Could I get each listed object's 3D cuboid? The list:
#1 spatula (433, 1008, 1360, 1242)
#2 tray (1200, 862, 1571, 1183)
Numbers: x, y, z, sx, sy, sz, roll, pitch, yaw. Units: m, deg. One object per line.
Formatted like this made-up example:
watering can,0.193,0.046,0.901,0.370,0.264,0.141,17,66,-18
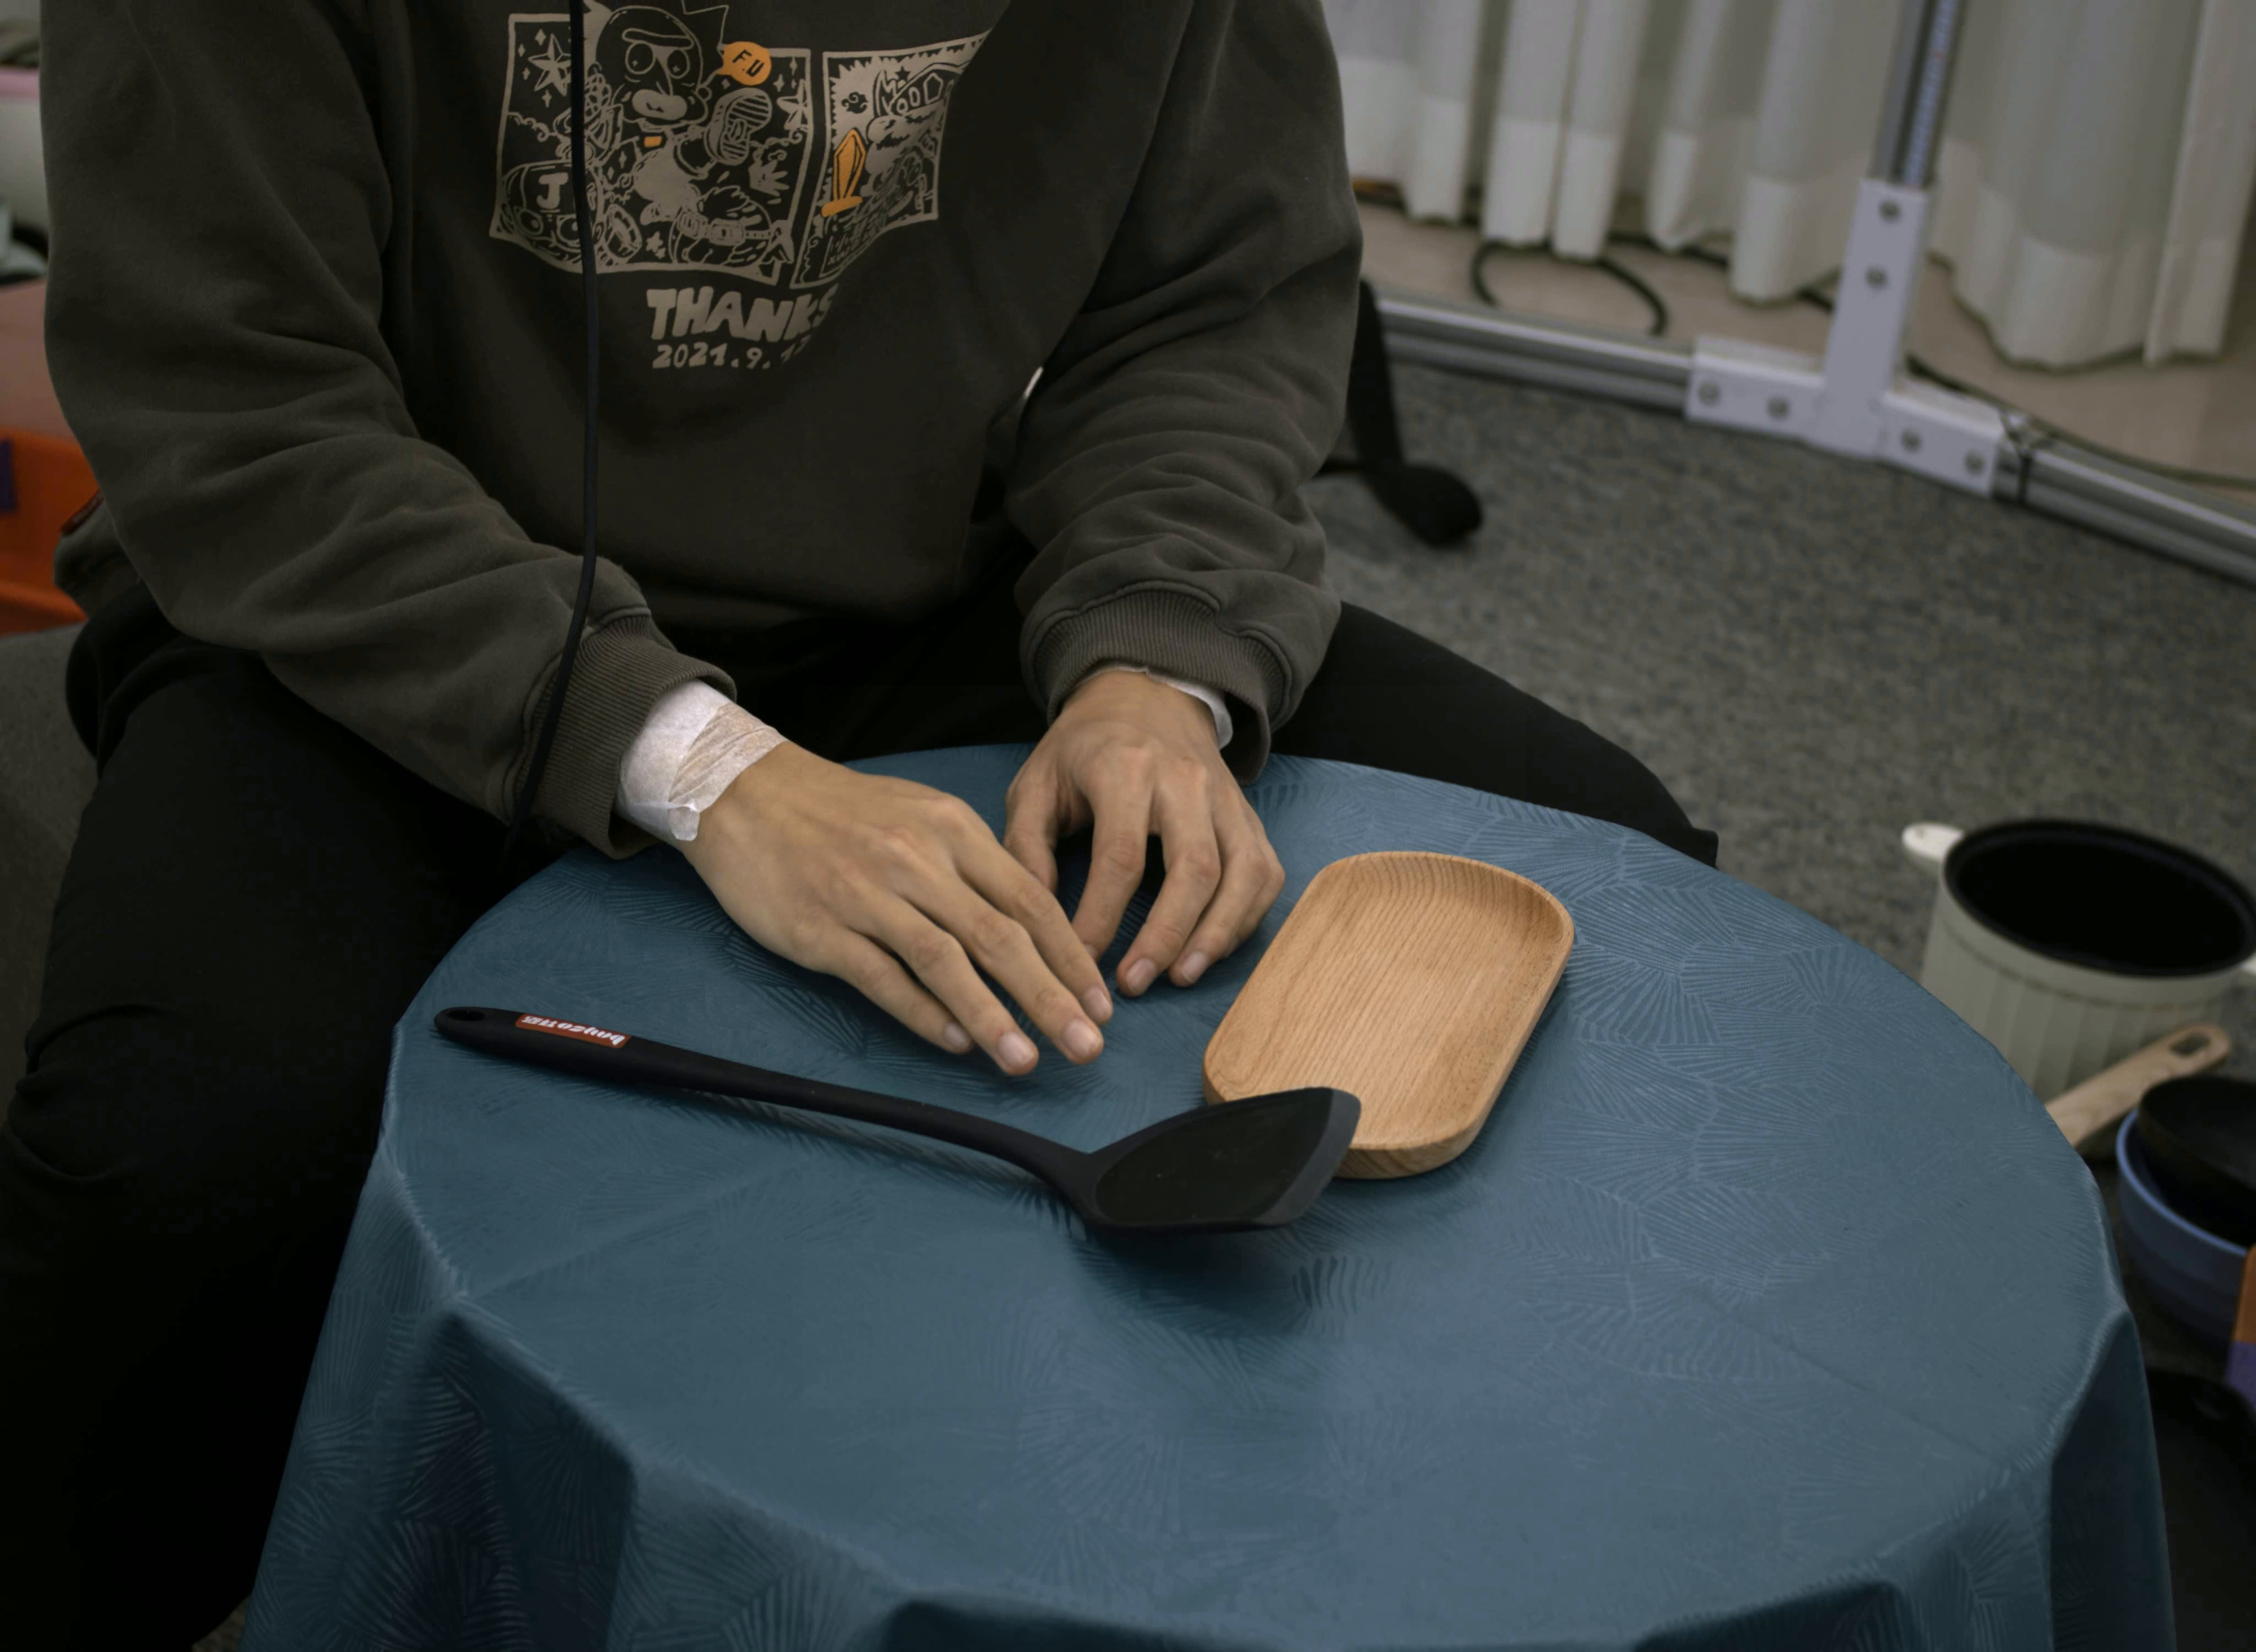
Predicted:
spatula,-0.085,0.091,1.808,0.326,0.040,0.100,13,26,13
tray,0.094,0.069,1.917,0.102,0.020,0.231,13,28,13
